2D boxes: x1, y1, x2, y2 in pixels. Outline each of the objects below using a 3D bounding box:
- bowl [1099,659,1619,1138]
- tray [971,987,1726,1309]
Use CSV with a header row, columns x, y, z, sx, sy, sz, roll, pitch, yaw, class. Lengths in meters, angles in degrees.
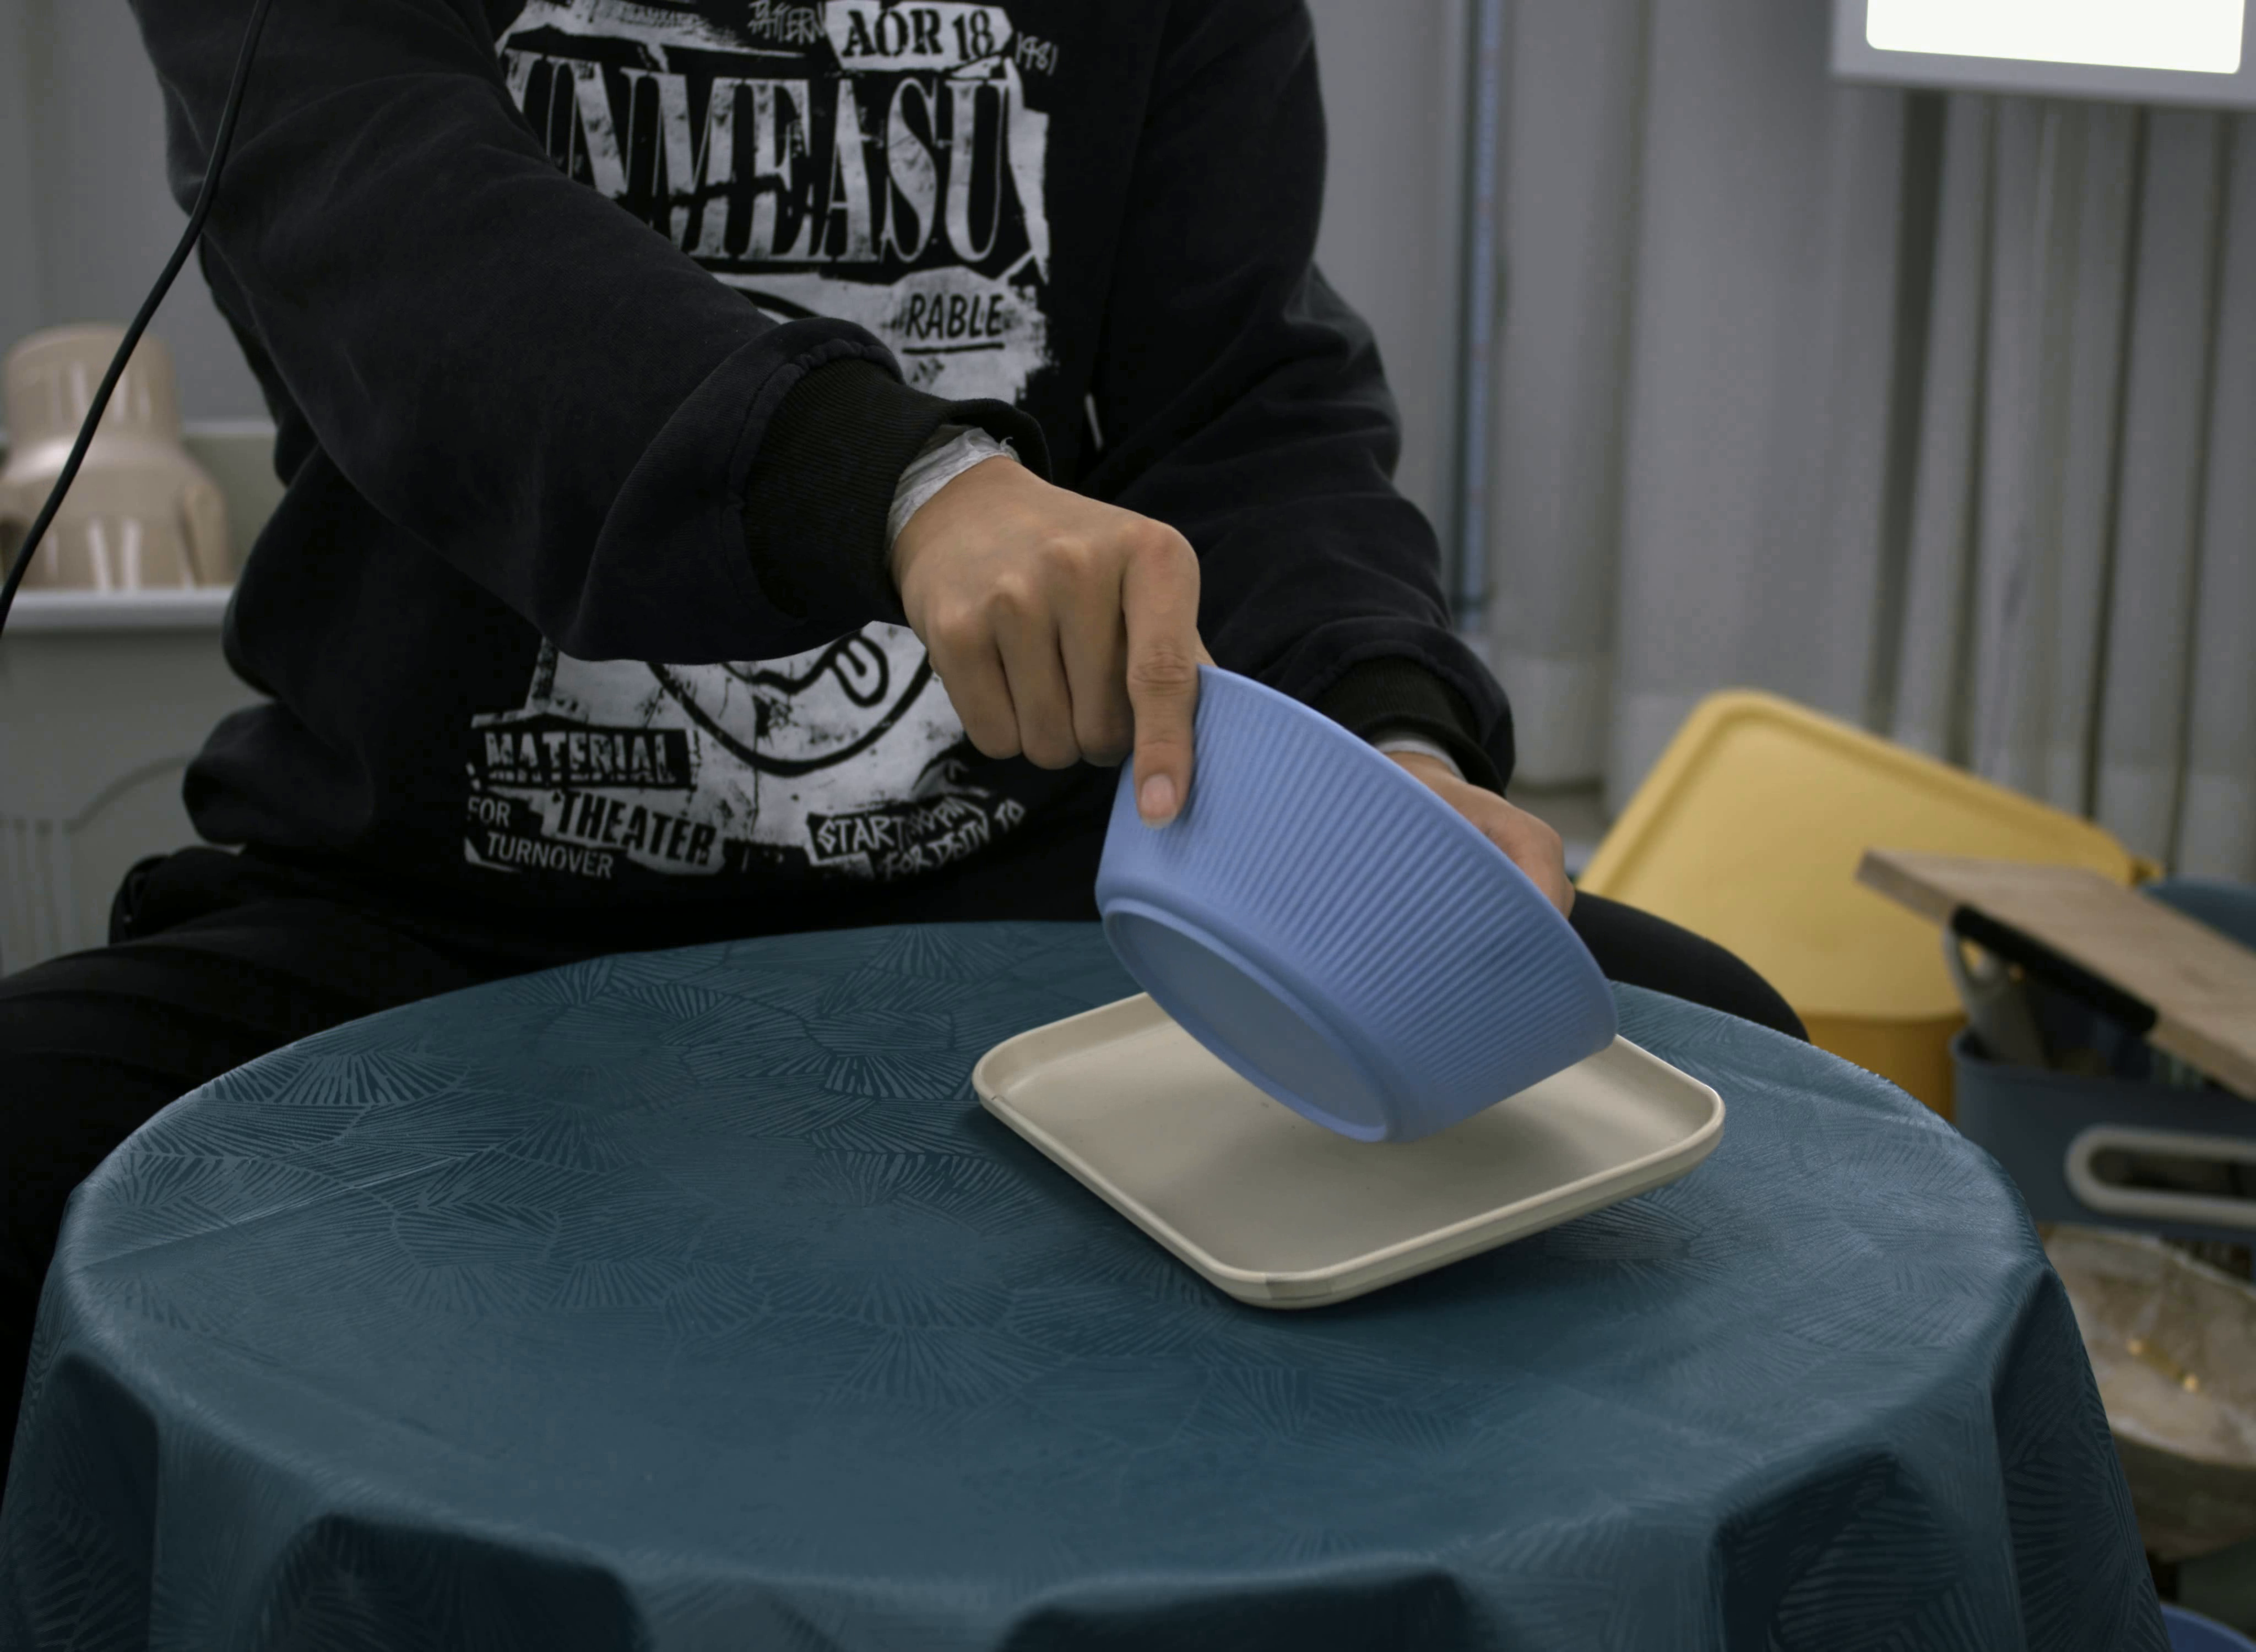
x,y,z,sx,sy,sz,roll,pitch,yaw,class
0.056,0.032,1.564,0.070,0.178,0.173,-51,38,-15,bowl
0.065,0.088,1.635,0.171,0.017,0.237,-17,21,-20,tray
